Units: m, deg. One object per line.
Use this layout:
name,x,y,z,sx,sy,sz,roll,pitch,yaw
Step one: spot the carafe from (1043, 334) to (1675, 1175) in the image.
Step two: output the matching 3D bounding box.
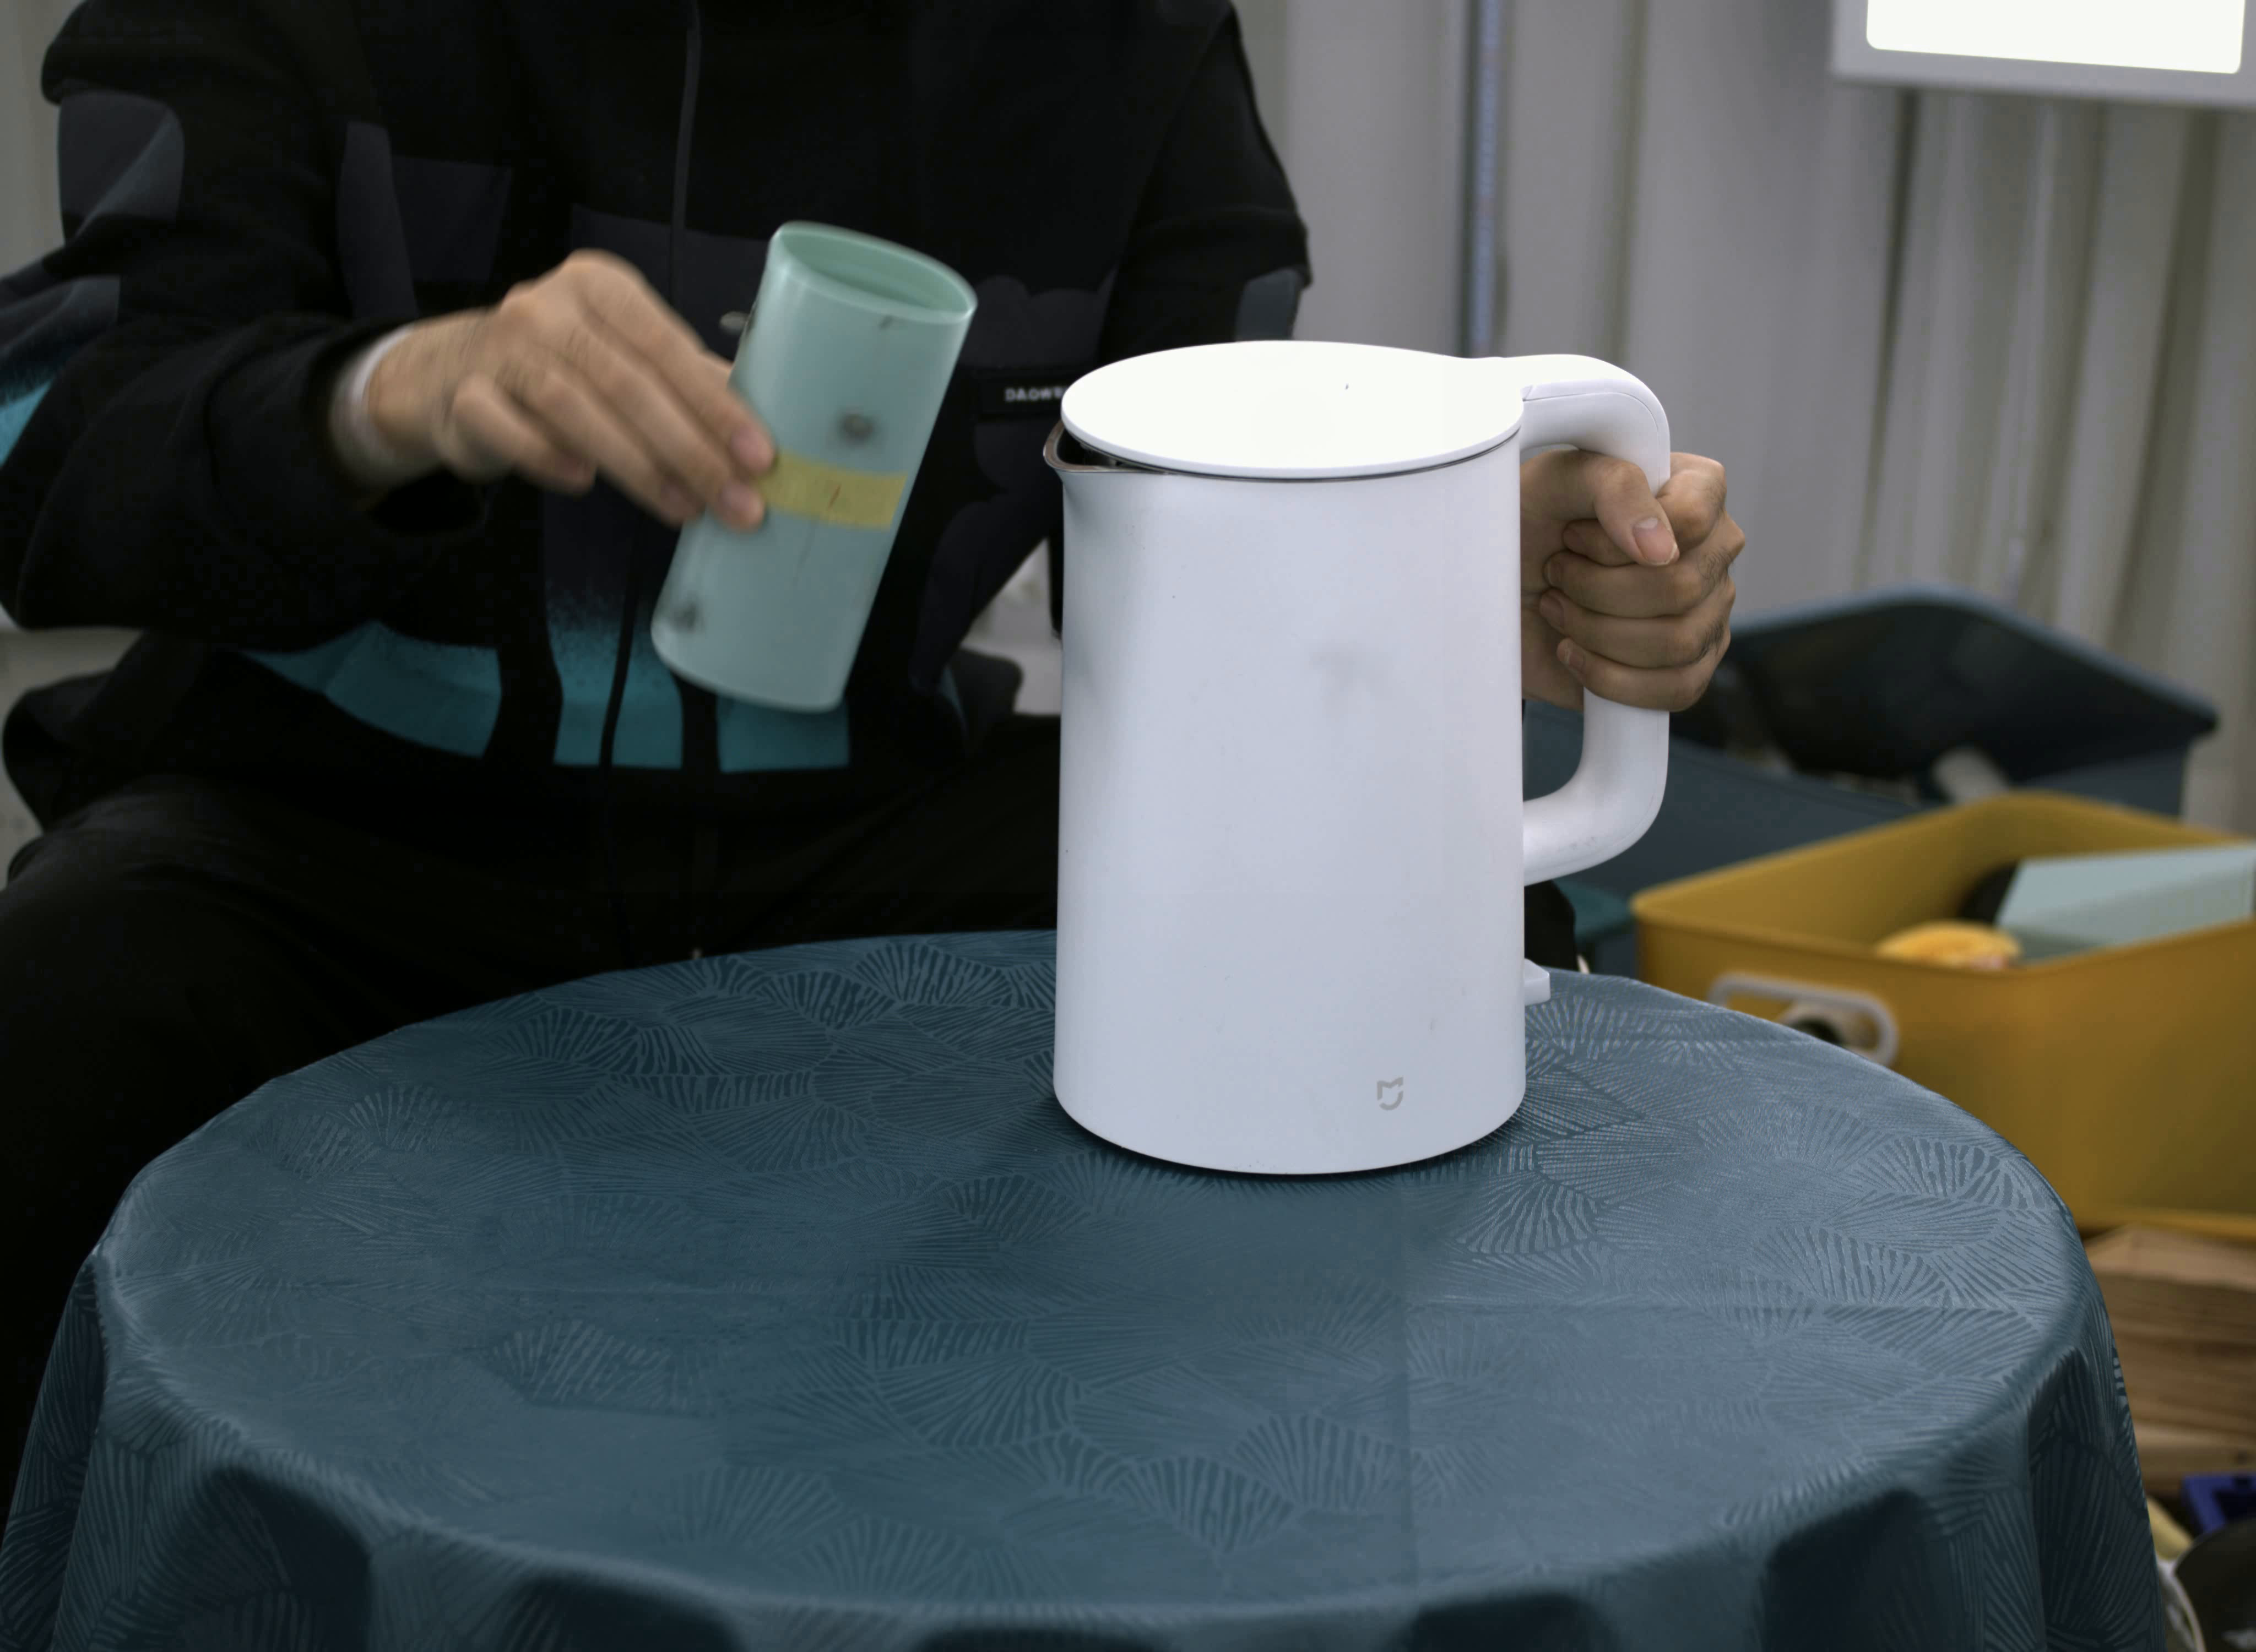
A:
carafe,0.076,-0.028,1.667,0.214,0.242,0.150,-10,23,-23

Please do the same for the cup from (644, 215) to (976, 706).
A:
cup,-0.096,-0.110,1.571,0.067,0.133,0.066,19,20,-7
